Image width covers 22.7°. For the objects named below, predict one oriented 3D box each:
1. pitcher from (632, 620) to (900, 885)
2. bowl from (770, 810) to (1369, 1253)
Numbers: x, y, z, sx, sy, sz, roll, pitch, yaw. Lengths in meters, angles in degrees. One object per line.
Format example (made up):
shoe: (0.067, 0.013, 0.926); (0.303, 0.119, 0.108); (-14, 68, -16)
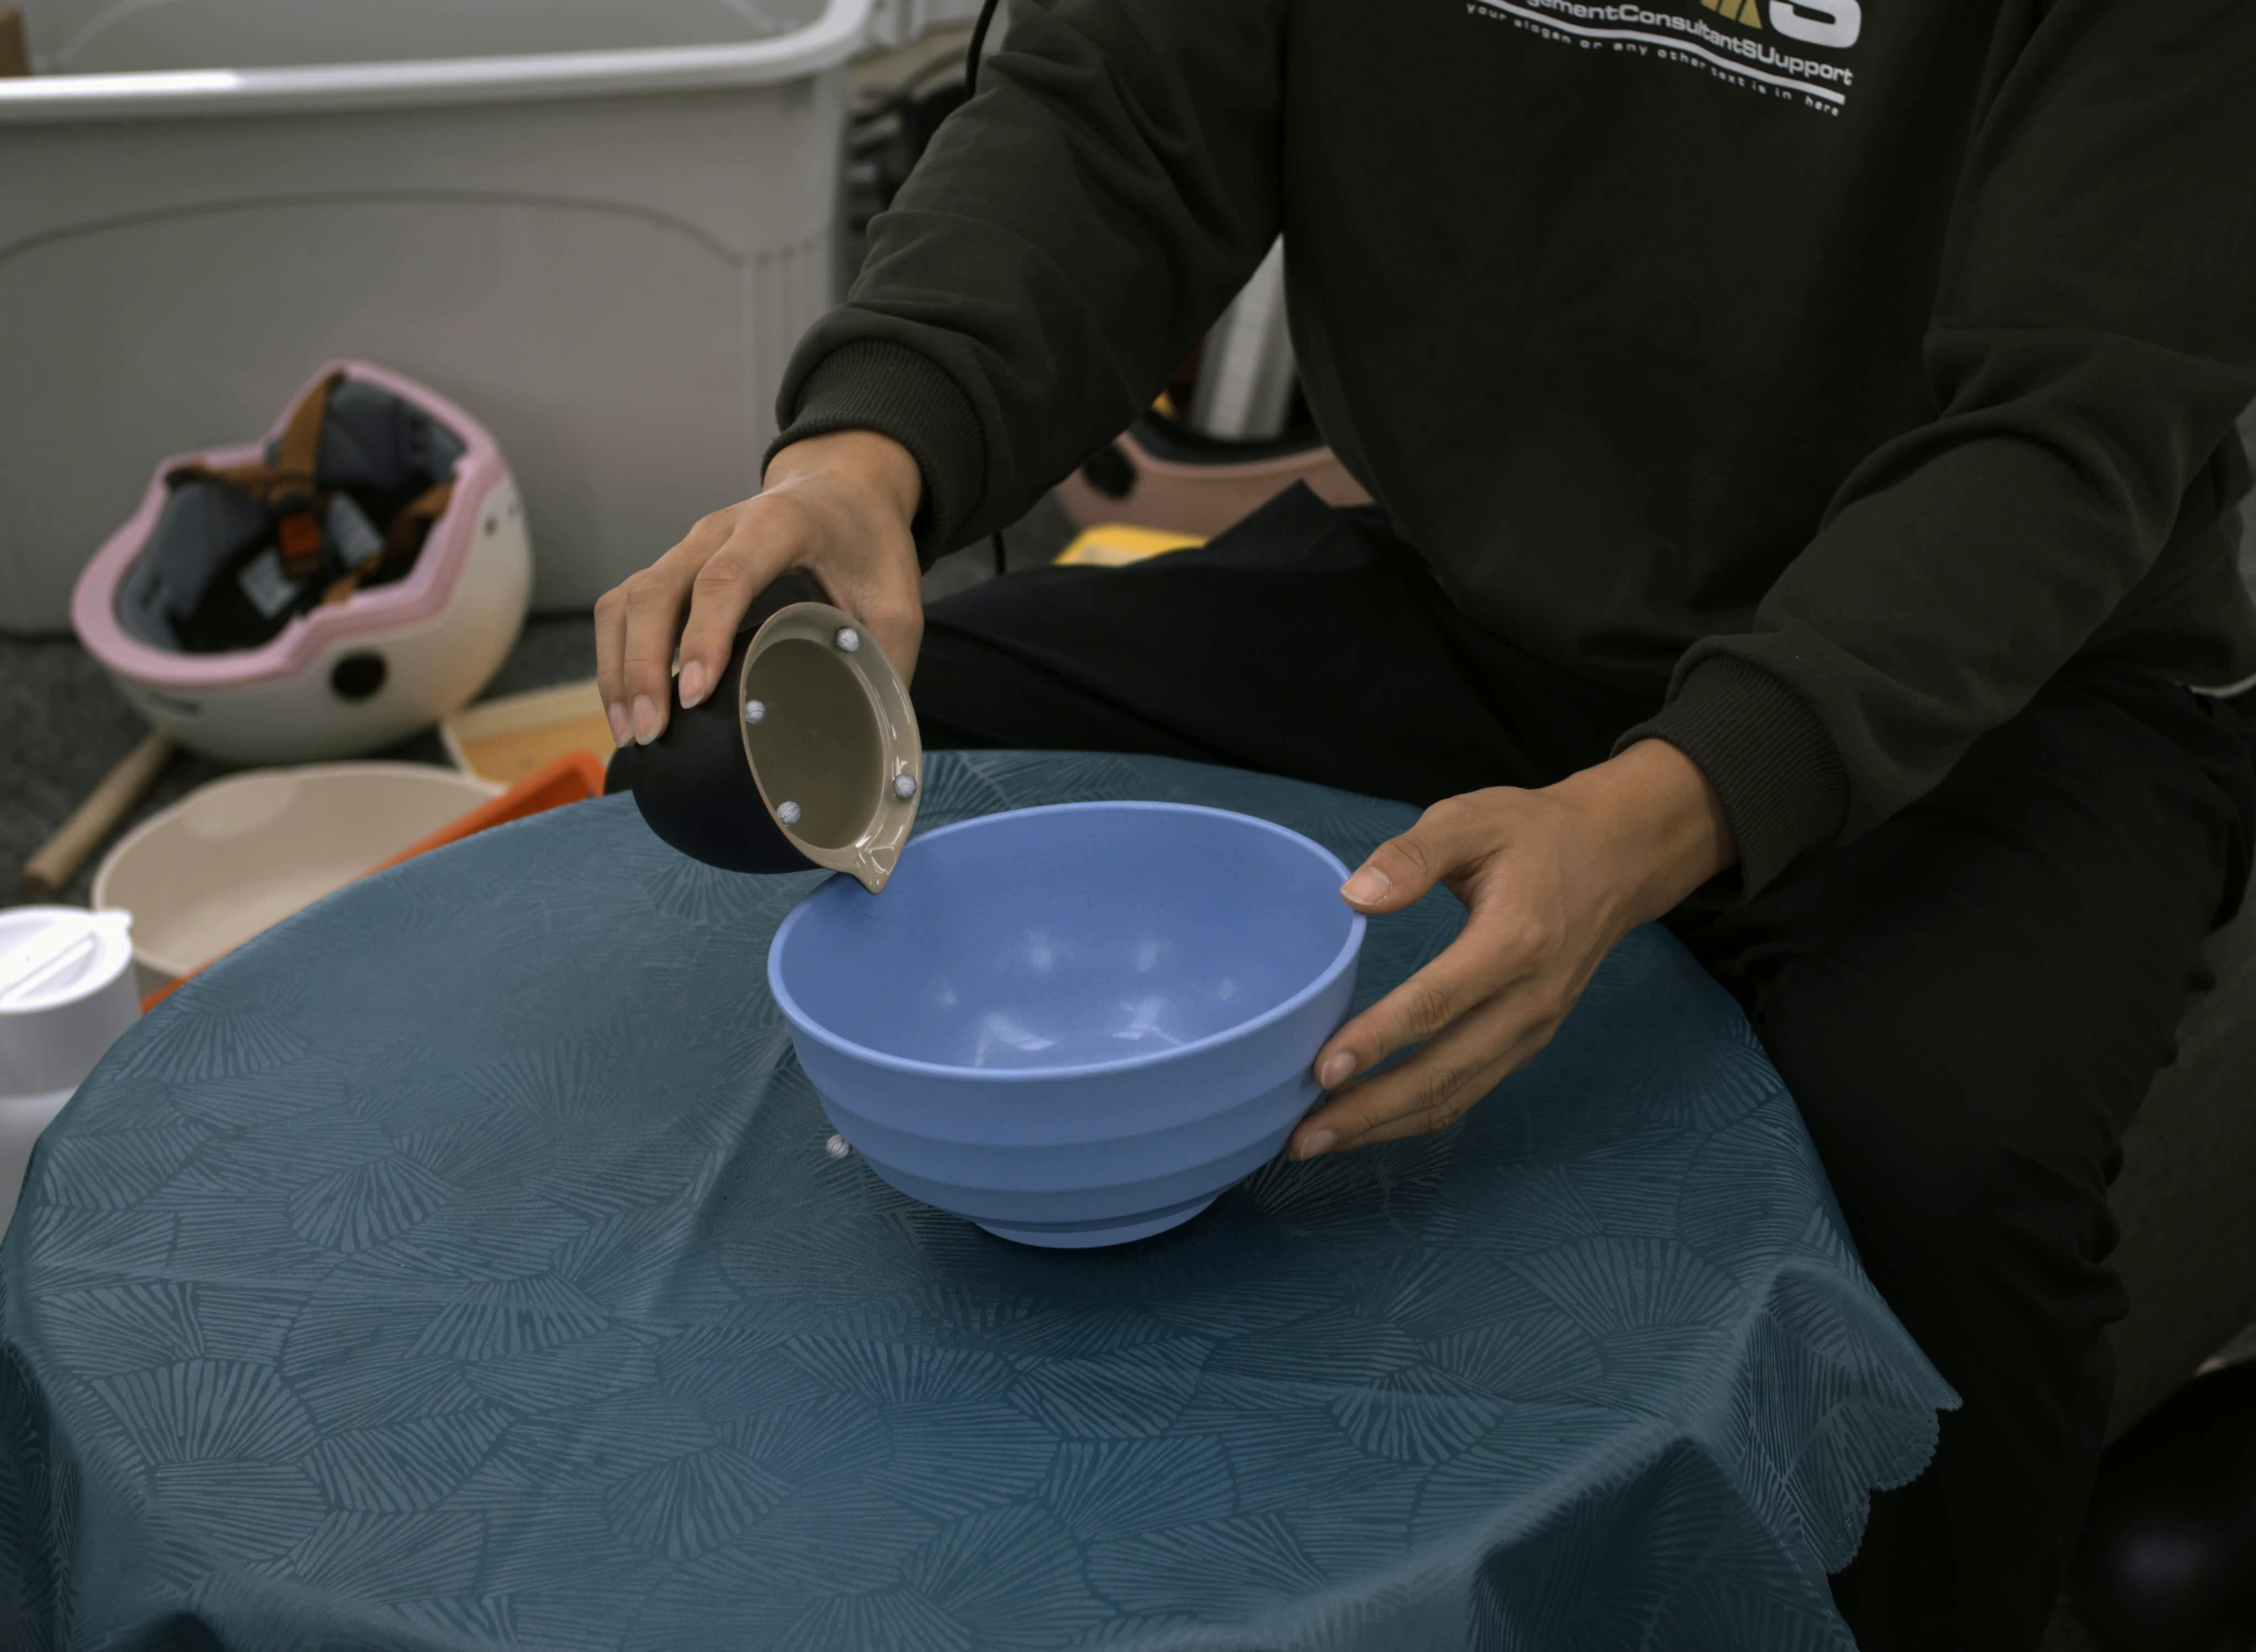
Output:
pitcher: (-0.123, -0.018, 1.896); (0.070, 0.096, 0.085); (-15, 9, 34)
bowl: (-0.016, 0.077, 1.848); (0.195, 0.094, 0.199); (-3, 24, 2)
